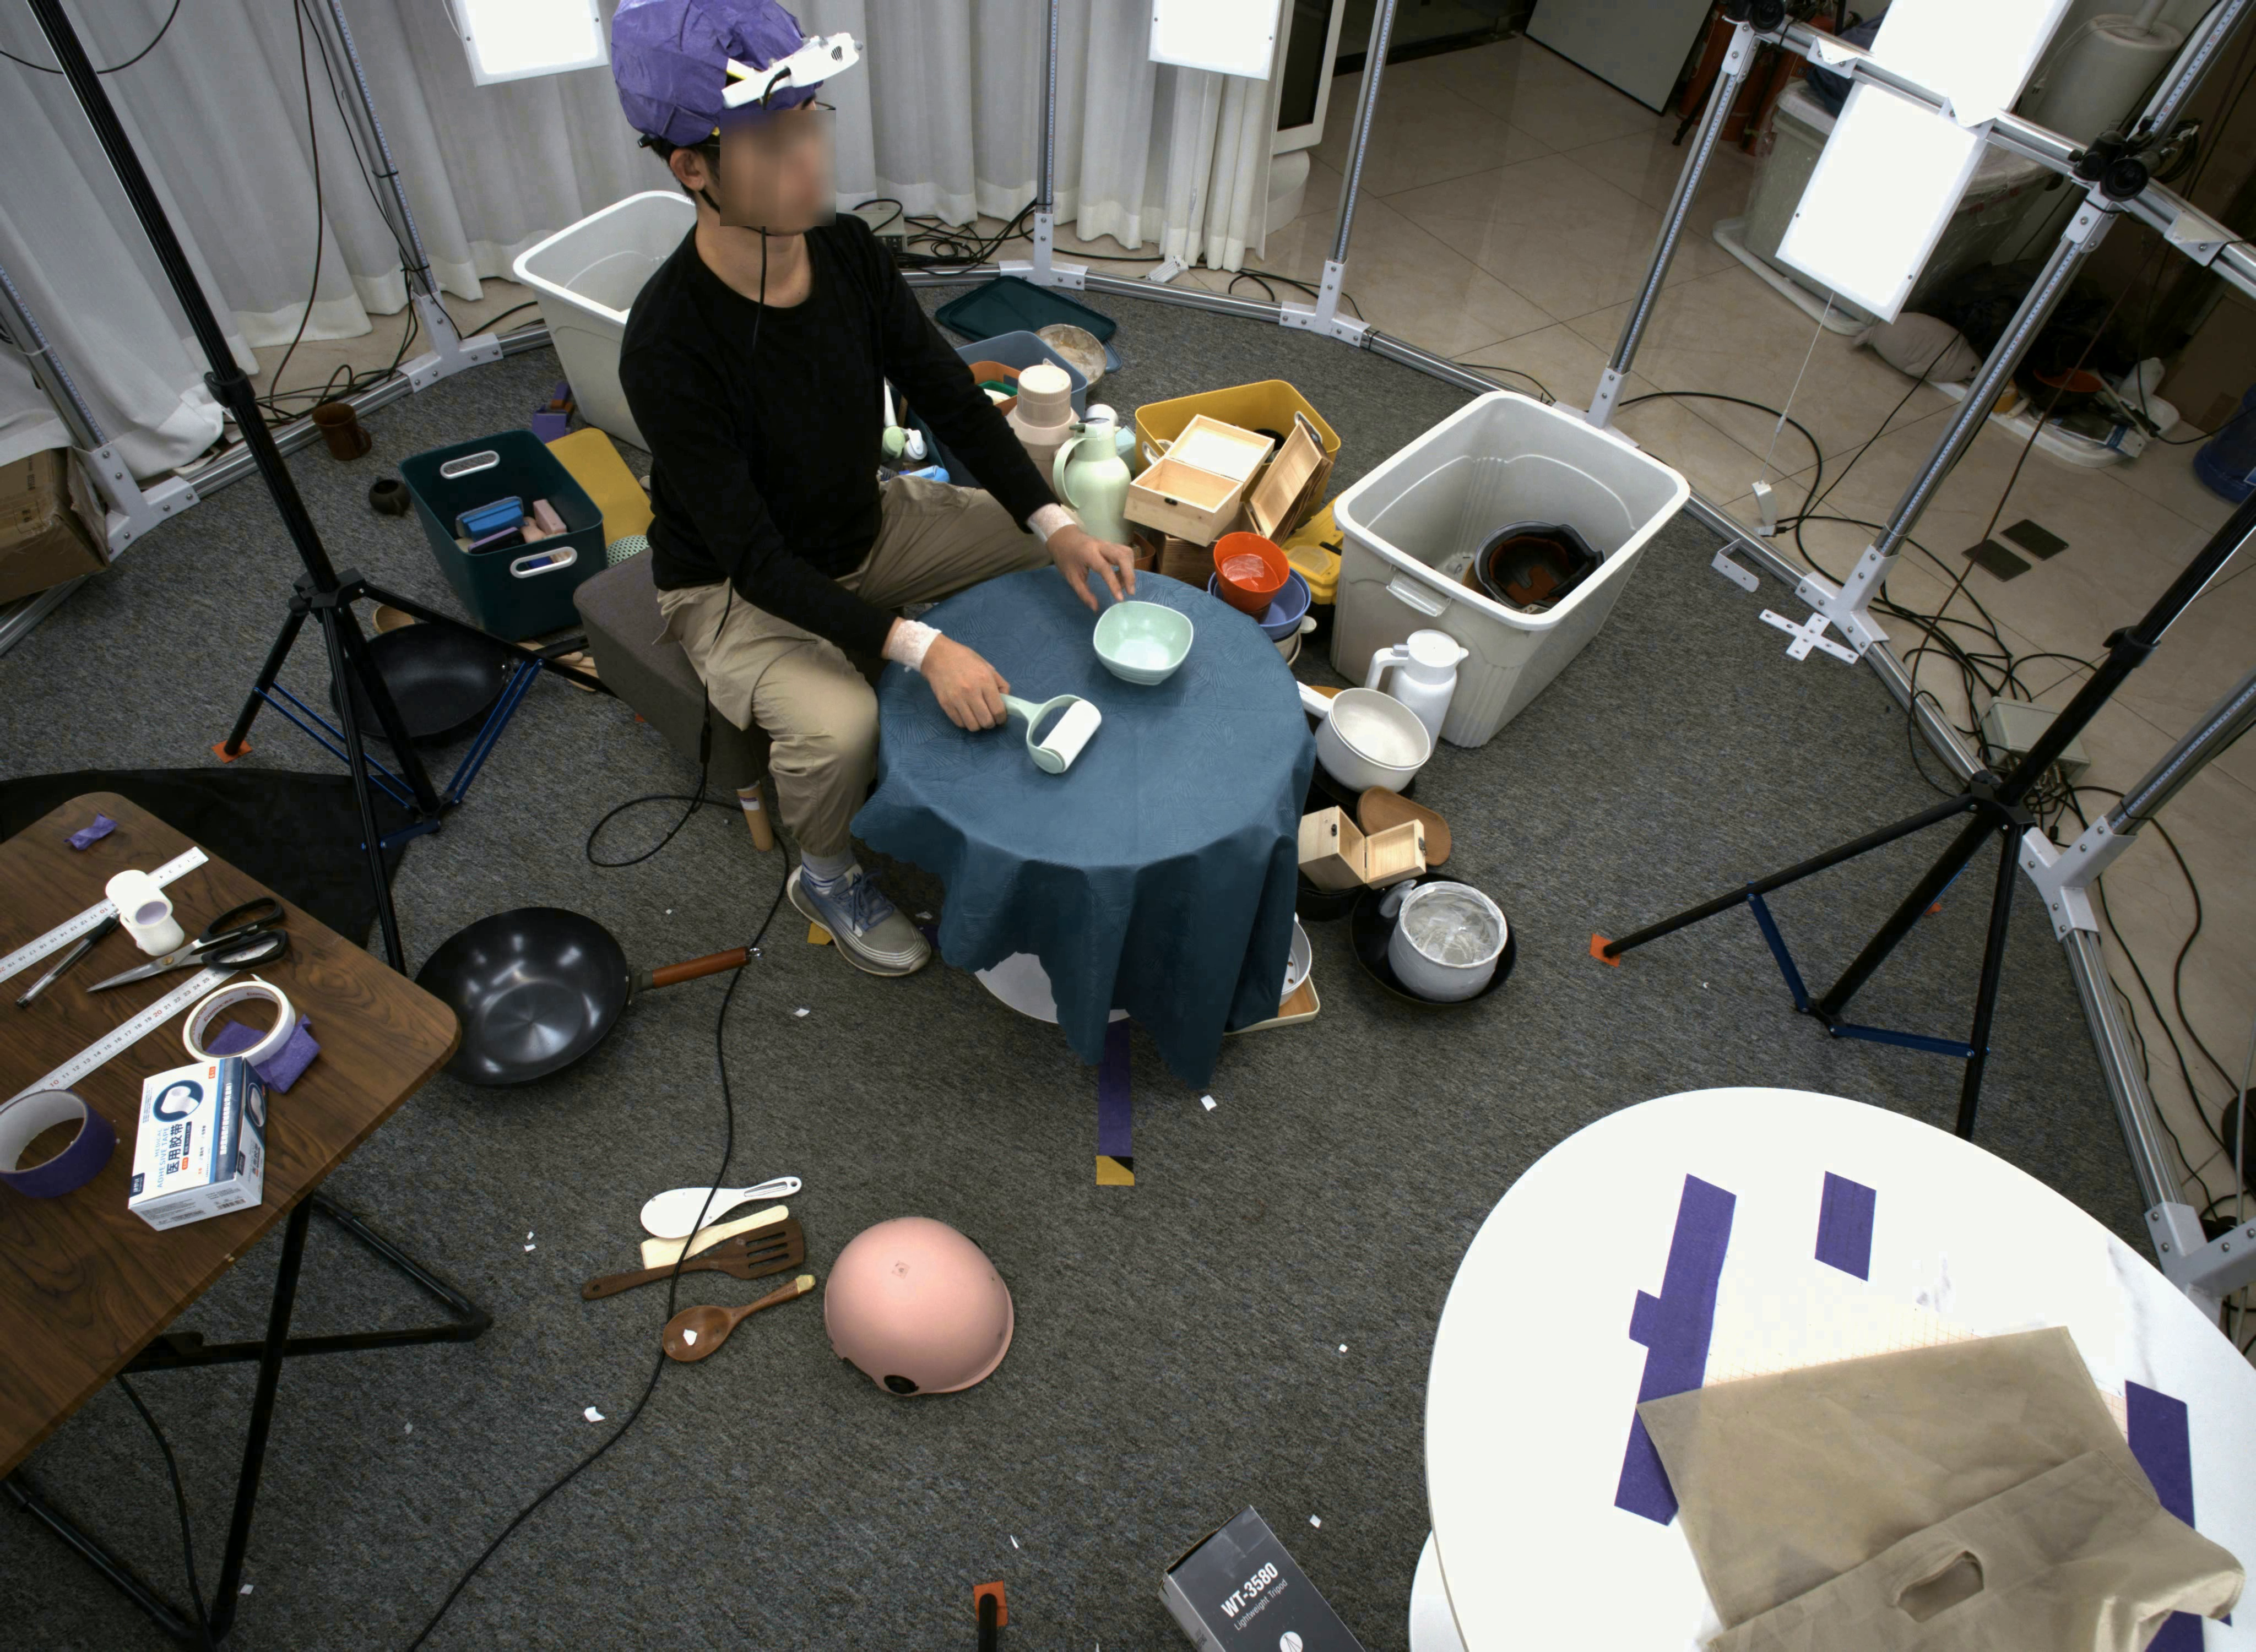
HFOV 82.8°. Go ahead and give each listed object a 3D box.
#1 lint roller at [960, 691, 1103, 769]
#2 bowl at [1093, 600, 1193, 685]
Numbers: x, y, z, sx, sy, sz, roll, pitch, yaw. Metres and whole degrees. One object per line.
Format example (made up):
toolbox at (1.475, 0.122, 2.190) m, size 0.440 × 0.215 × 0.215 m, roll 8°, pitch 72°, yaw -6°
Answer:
lint roller at (-0.142, -0.155, 1.764) m, size 0.199 × 0.047 × 0.118 m, roll 23°, pitch 53°, yaw 15°
bowl at (0.020, -0.257, 1.857) m, size 0.151 × 0.057 × 0.155 m, roll 2°, pitch 50°, yaw -3°
